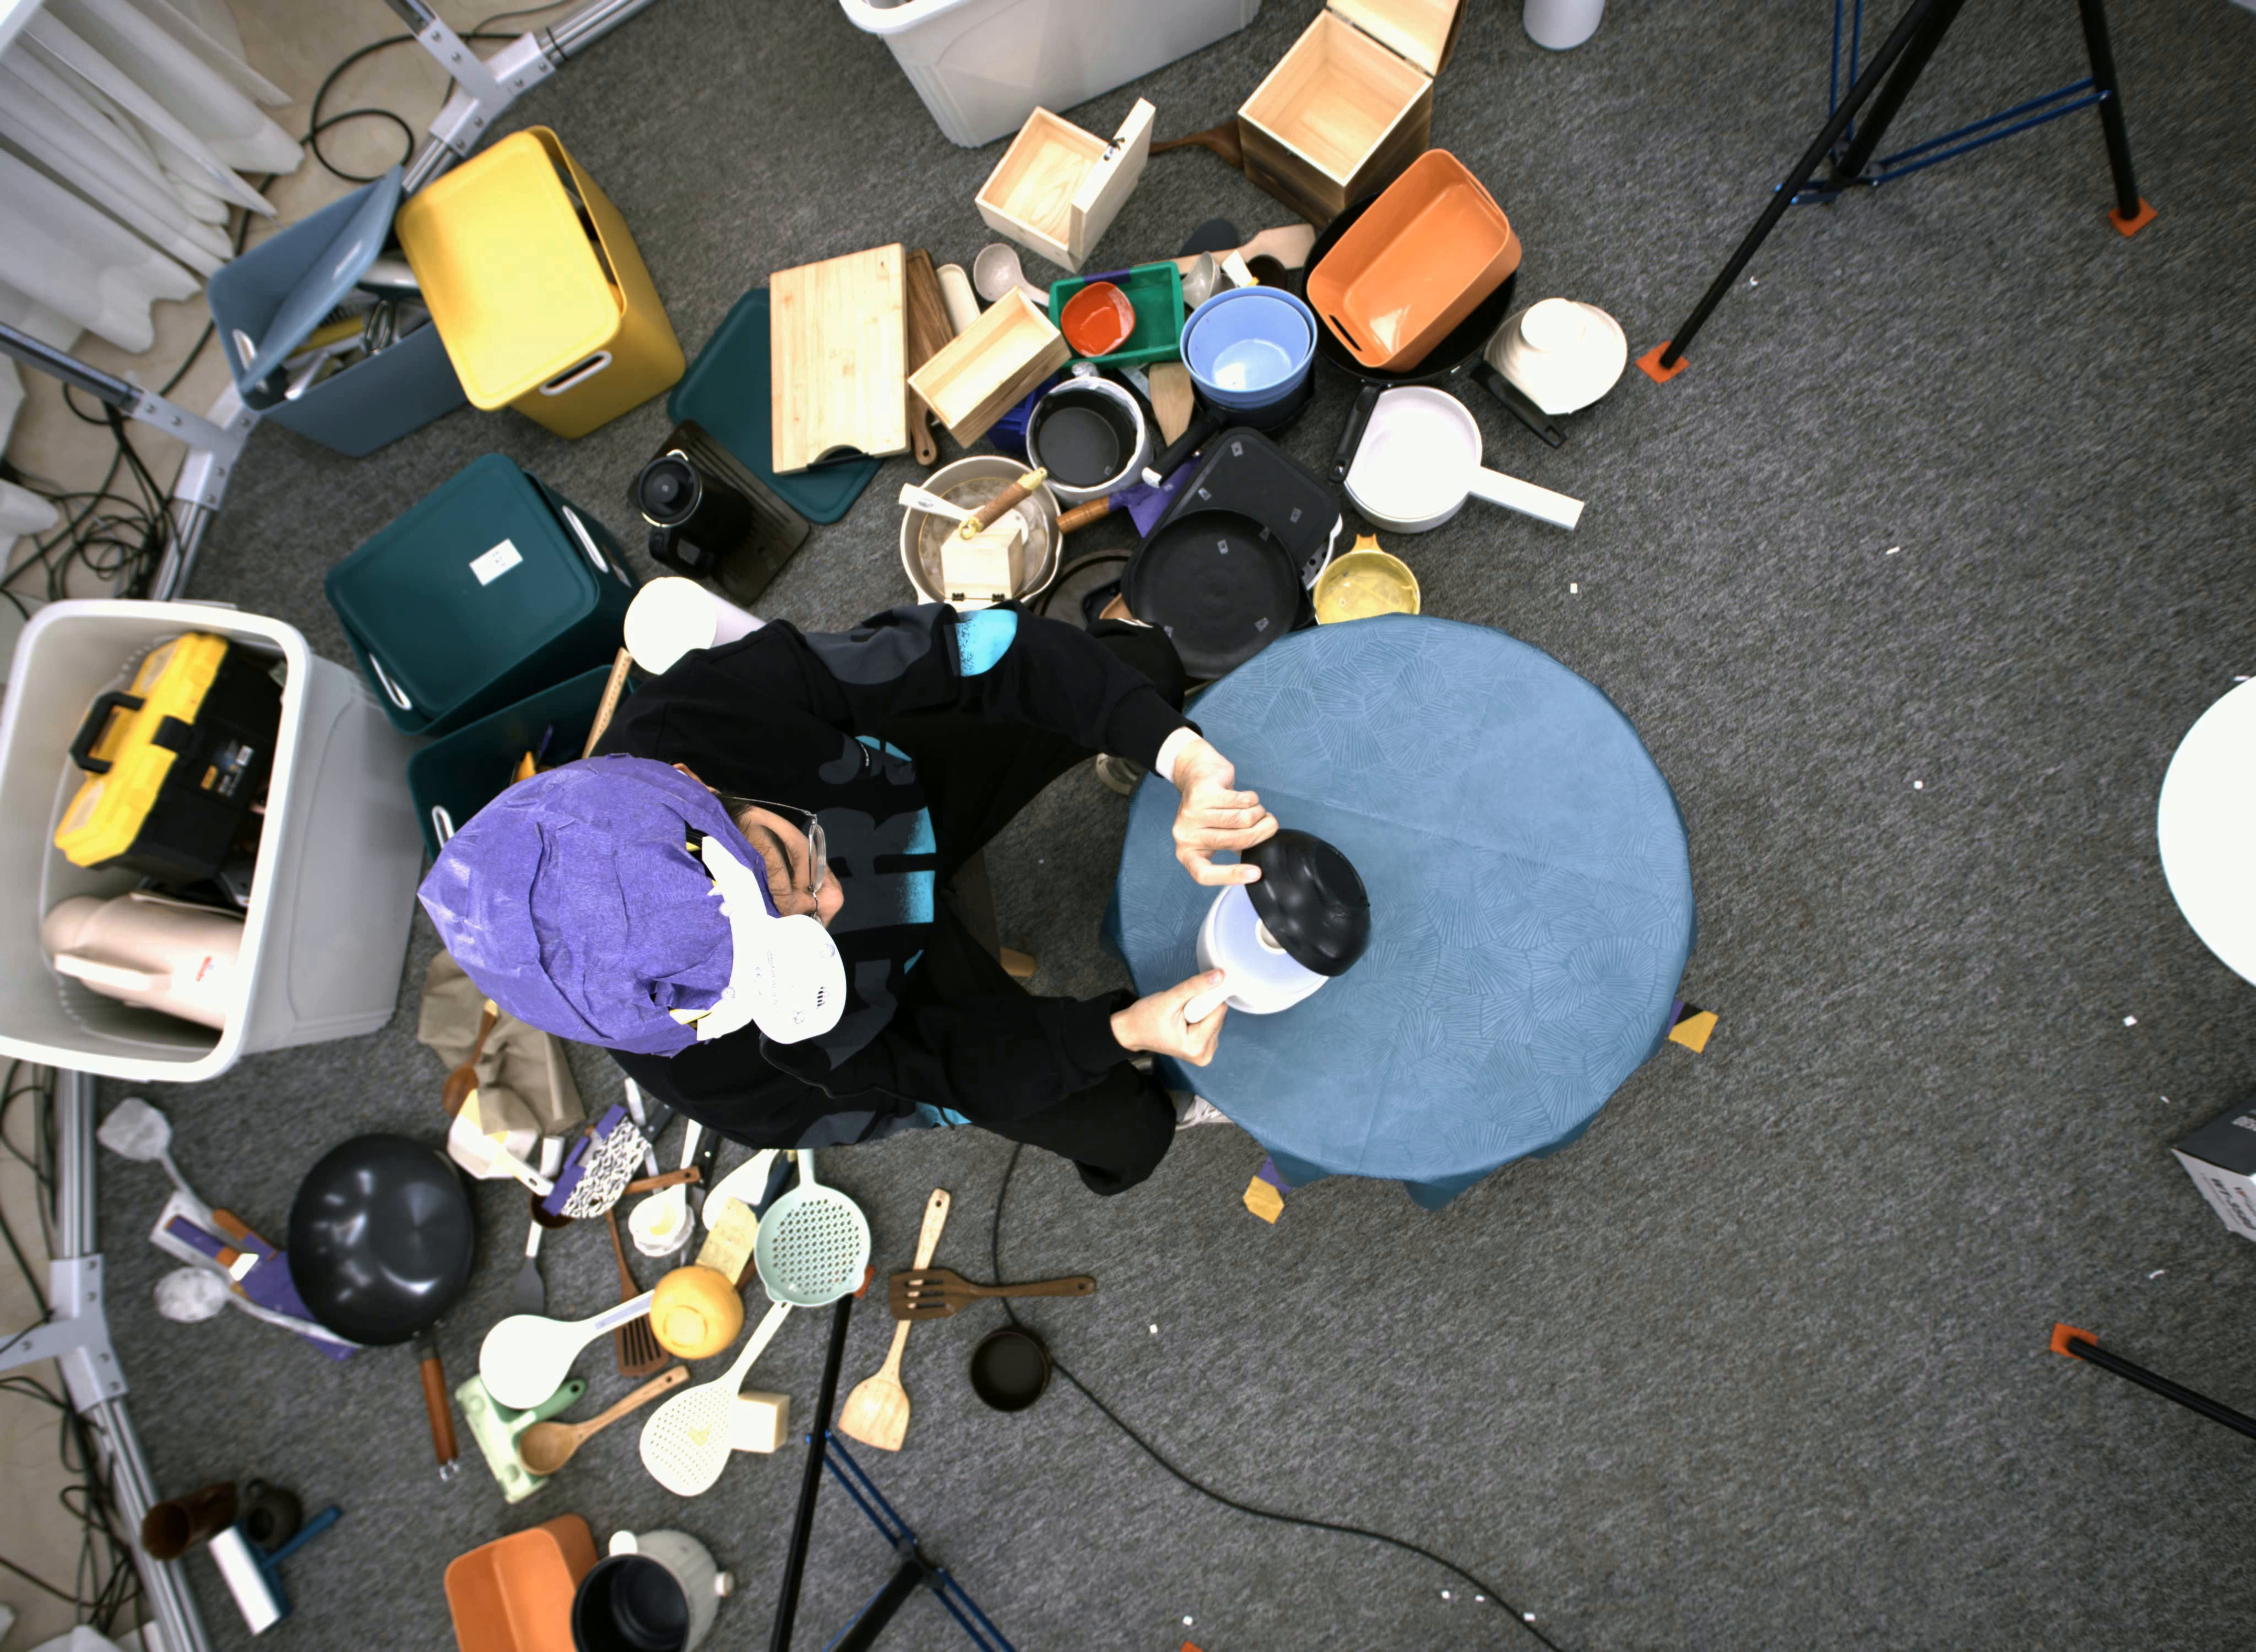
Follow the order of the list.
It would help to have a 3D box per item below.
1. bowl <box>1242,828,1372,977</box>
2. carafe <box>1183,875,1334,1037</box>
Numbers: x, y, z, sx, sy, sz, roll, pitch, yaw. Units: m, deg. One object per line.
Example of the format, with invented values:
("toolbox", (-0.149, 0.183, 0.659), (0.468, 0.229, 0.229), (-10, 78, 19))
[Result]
("bowl", (0.160, 0.054, 1.155), (0.051, 0.138, 0.139), (-37, 79, 31))
("carafe", (0.122, 0.132, 1.362), (0.132, 0.184, 0.190), (44, 86, 9))
